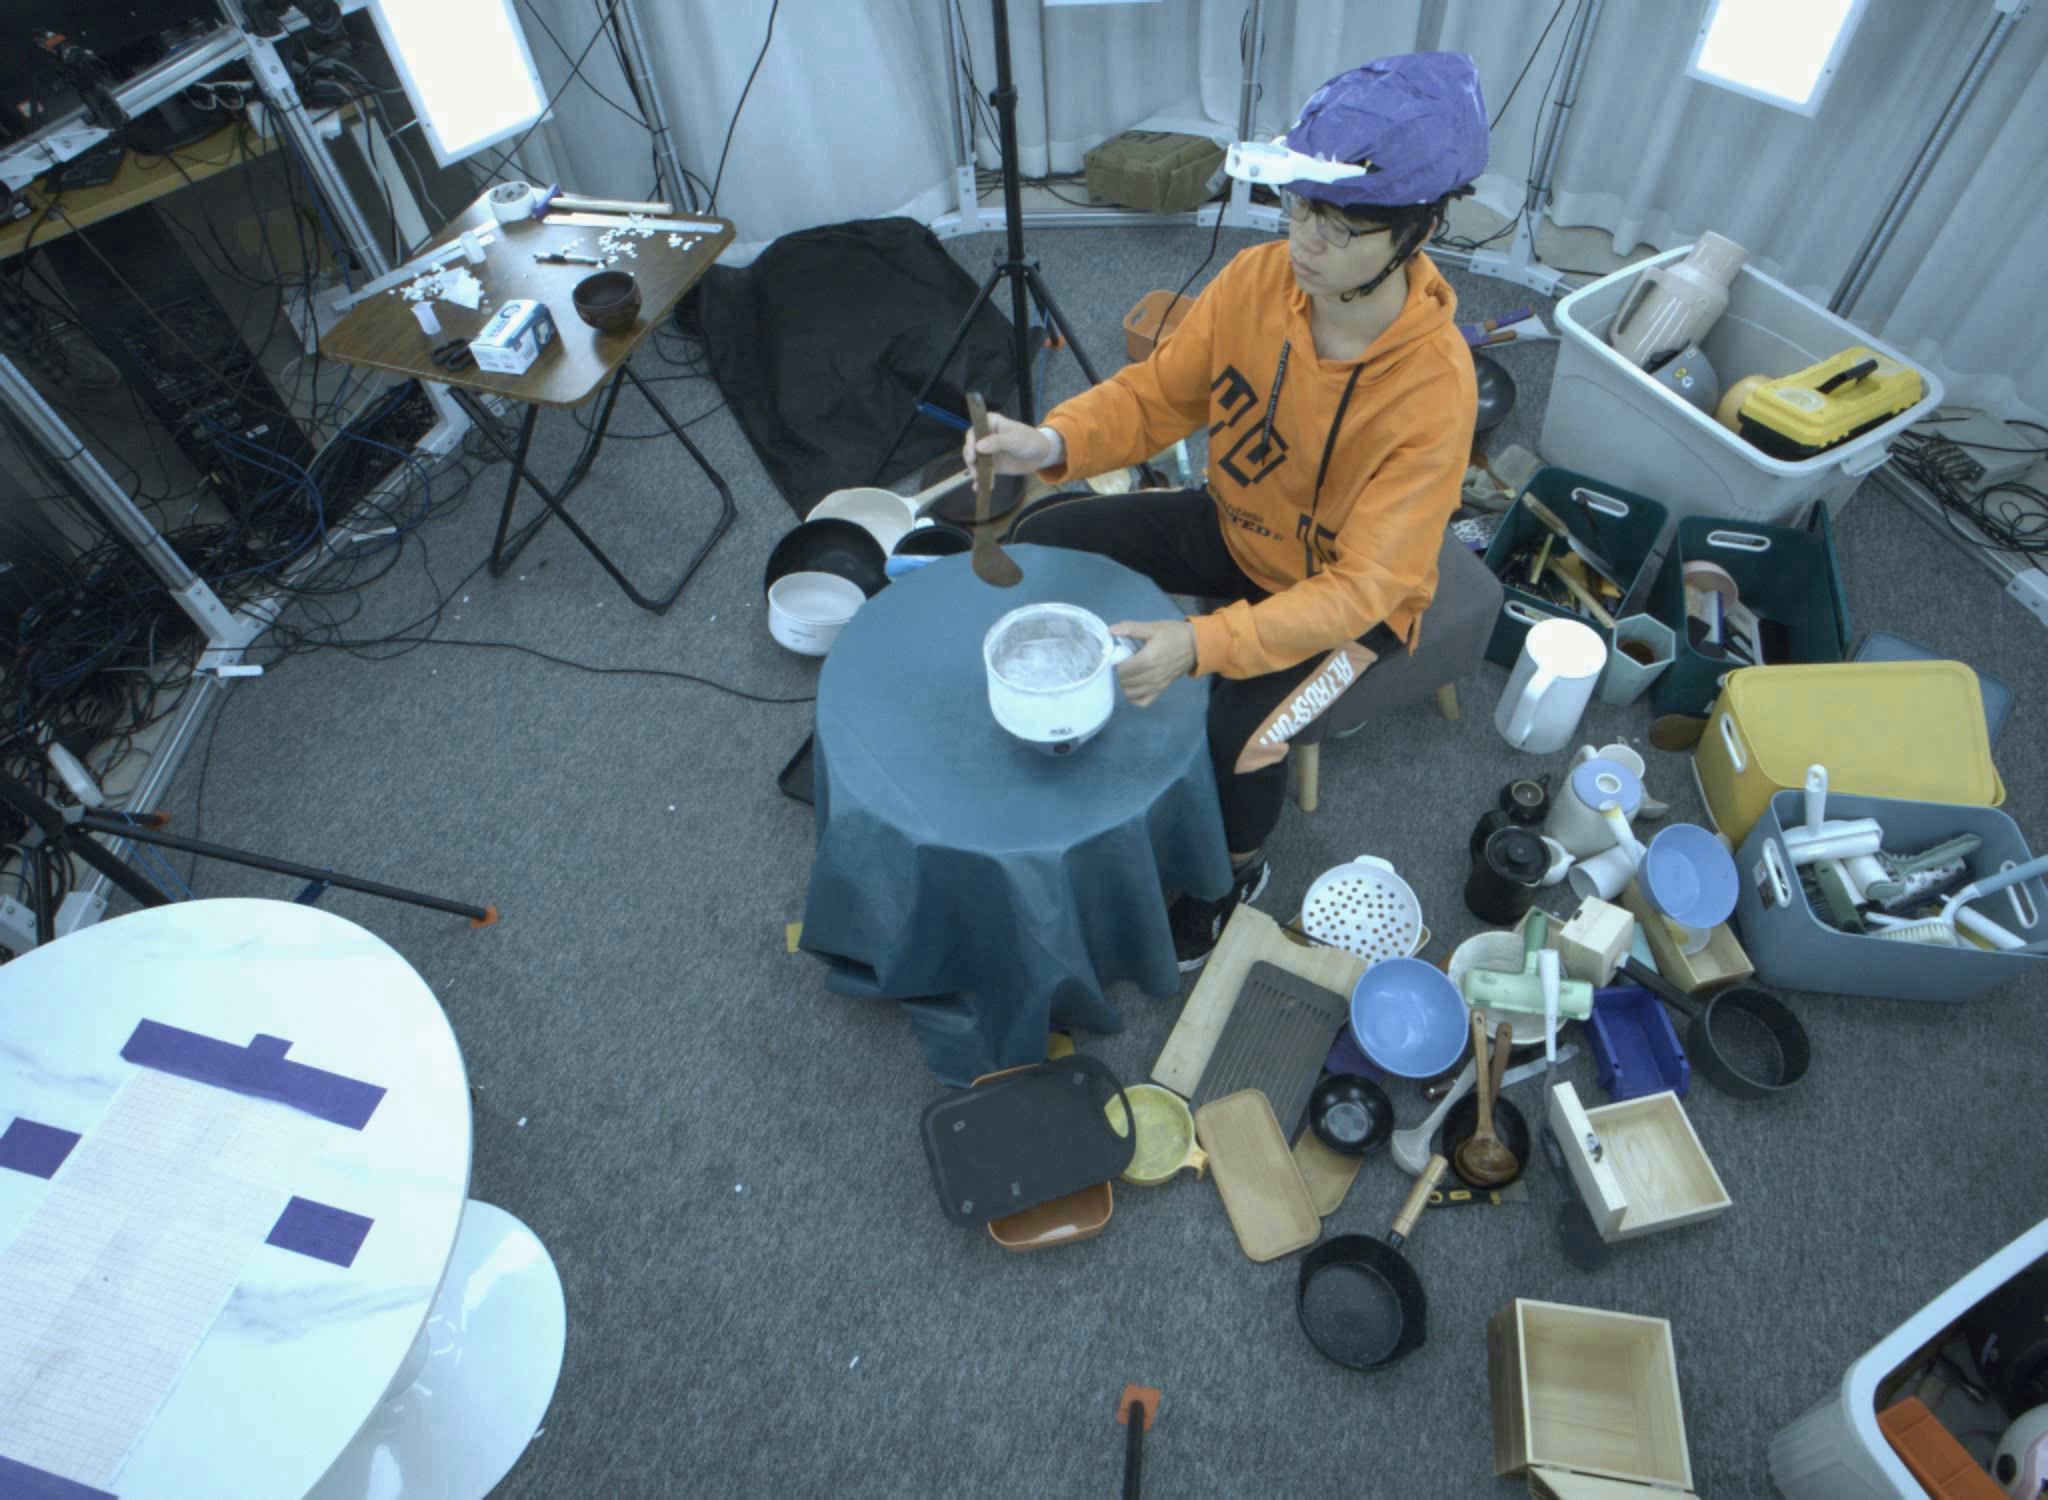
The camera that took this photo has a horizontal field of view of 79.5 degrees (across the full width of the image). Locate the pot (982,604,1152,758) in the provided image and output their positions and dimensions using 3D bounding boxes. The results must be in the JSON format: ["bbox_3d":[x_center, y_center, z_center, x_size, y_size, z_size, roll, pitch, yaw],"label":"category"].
[{"bbox_3d":[0.063,-0.101,1.715,0.234,0.138,0.176,-10,50,-5],"label":"pot"}]

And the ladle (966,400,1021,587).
[{"bbox_3d":[-0.047,-0.354,1.648,0.070,0.077,0.274,-2,91,45],"label":"ladle"}]
